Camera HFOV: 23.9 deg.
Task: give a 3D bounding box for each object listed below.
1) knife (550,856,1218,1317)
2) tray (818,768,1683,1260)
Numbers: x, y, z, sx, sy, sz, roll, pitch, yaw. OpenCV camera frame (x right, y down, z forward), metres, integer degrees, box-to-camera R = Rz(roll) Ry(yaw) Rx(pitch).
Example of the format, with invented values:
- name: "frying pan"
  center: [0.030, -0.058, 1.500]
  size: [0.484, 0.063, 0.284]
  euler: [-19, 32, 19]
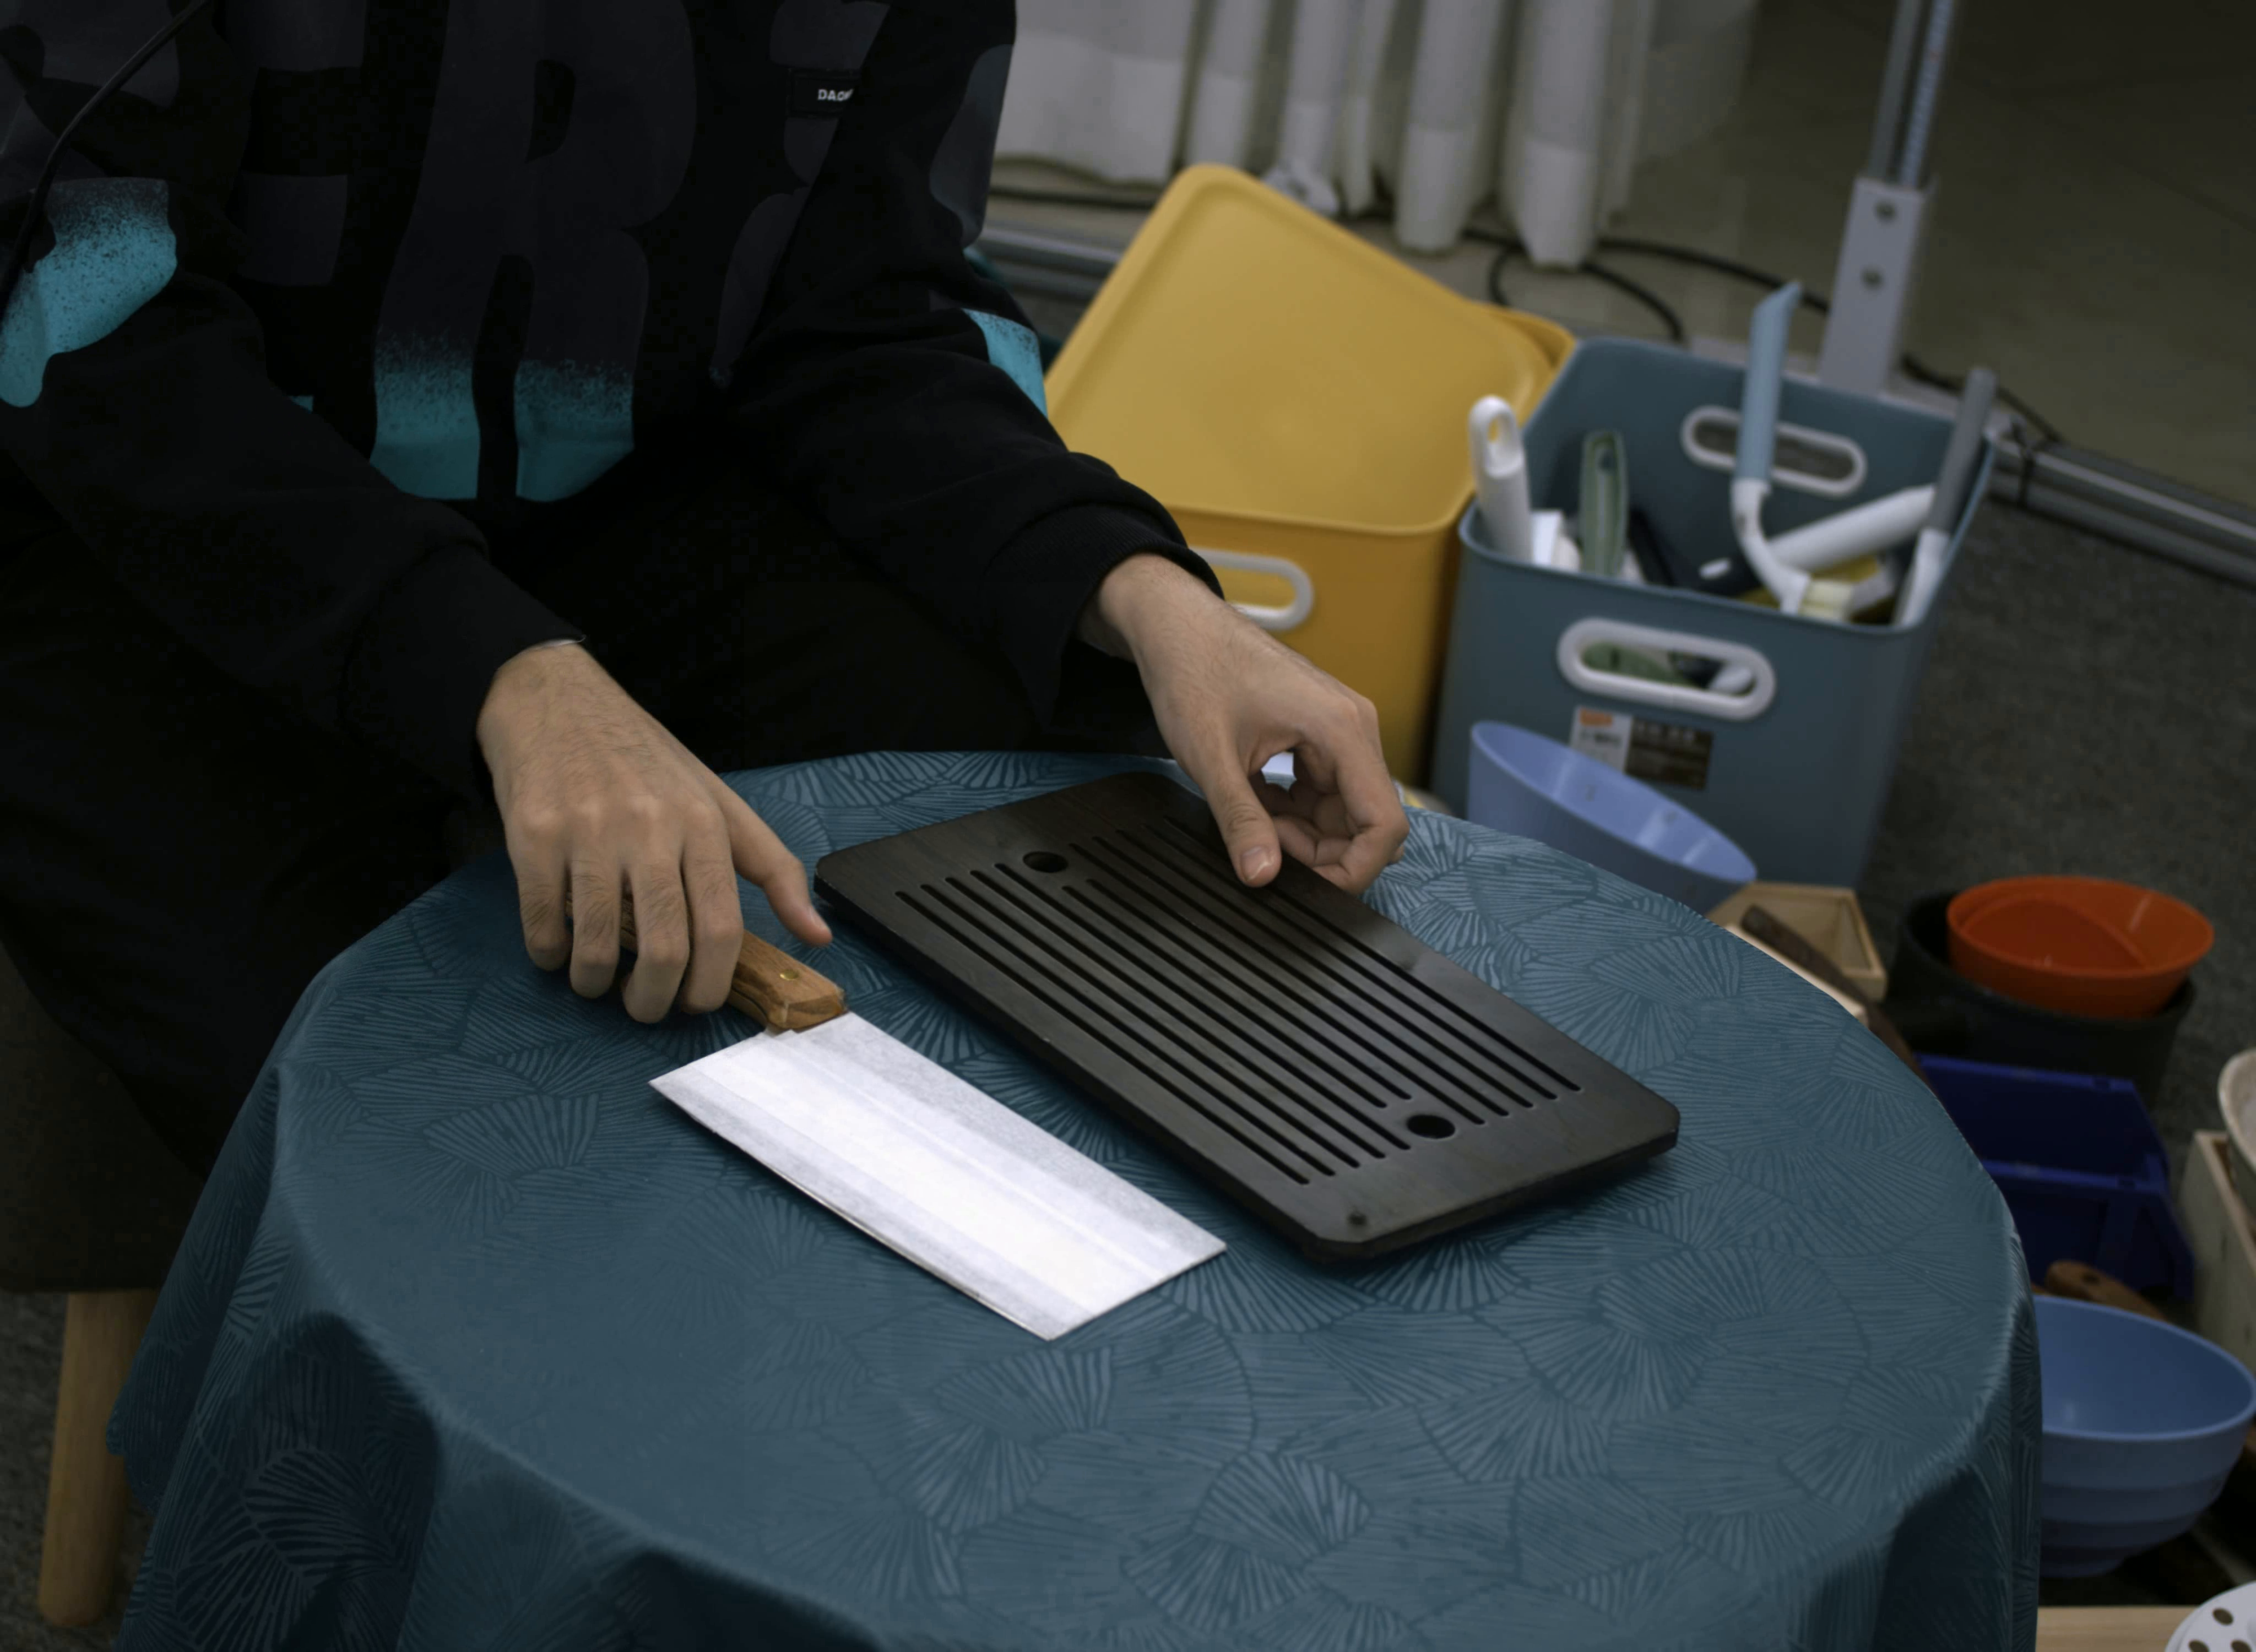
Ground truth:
- name: "knife"
  center: [-0.106, 0.090, 1.828]
  size: [0.308, 0.021, 0.092]
  euler: [30, 36, 34]
- name: "tray"
  center: [0.039, 0.064, 1.908]
  size: [0.169, 0.018, 0.308]
  euler: [-15, 34, -36]
